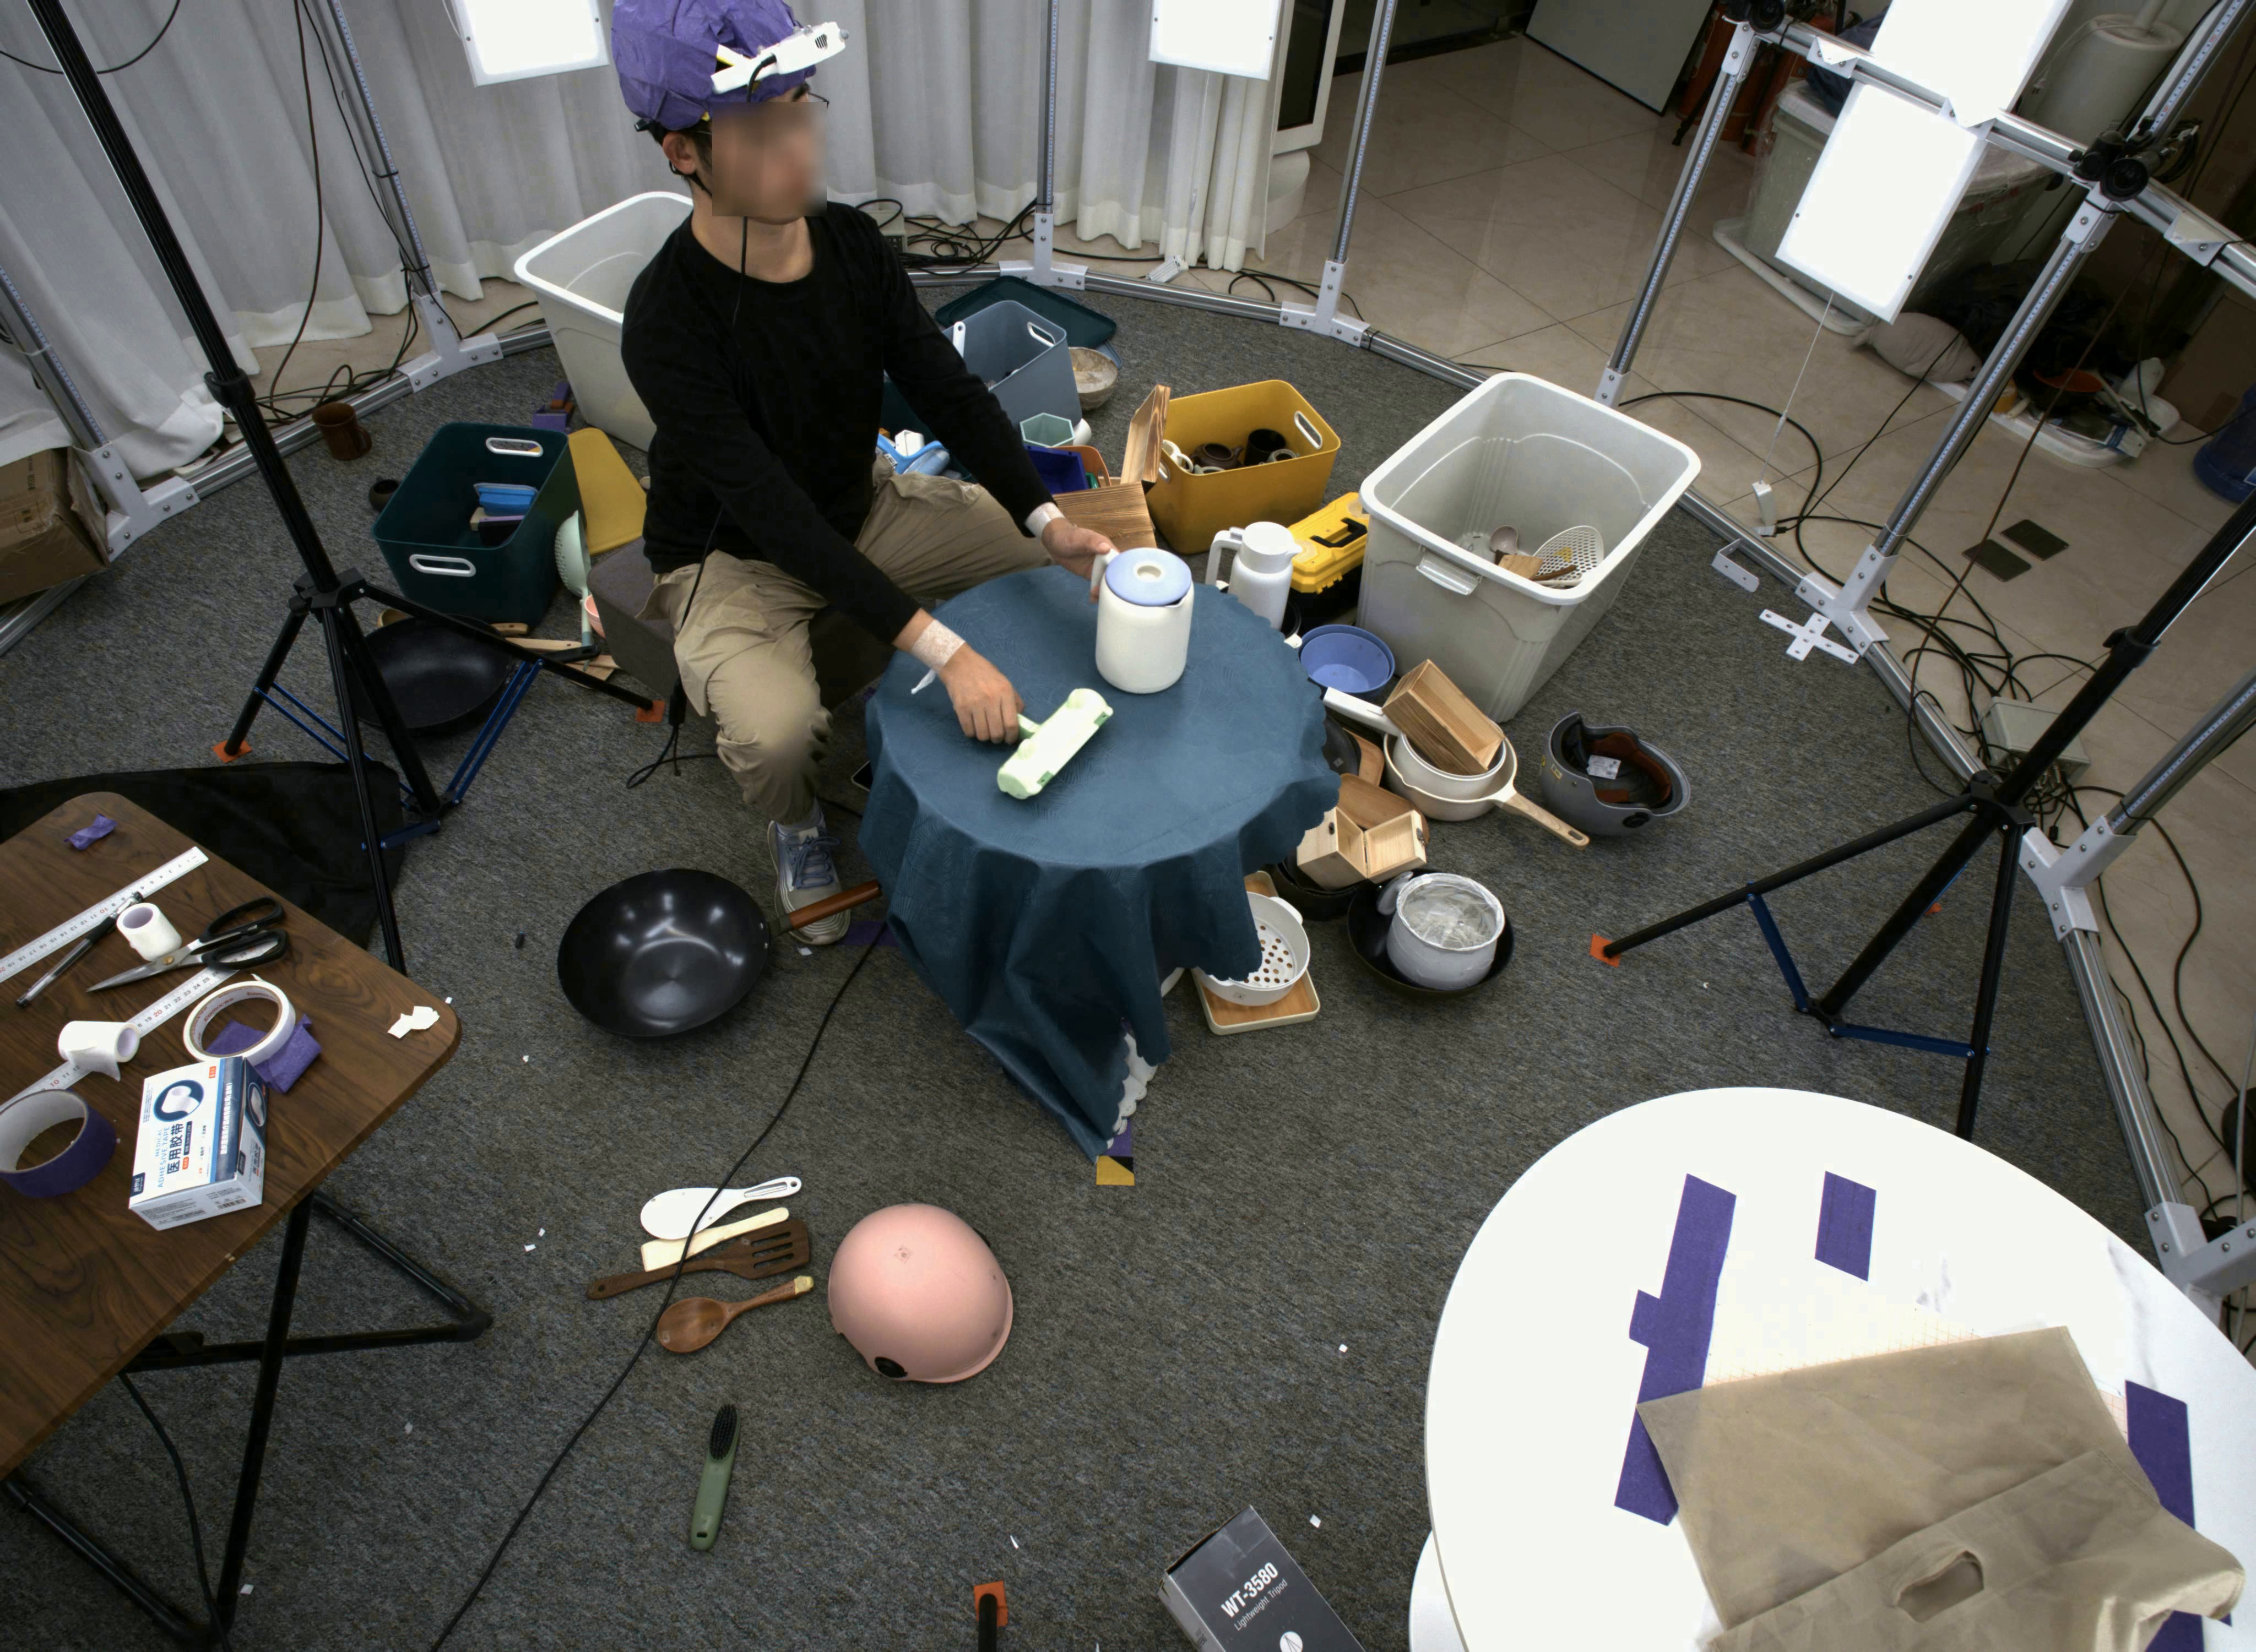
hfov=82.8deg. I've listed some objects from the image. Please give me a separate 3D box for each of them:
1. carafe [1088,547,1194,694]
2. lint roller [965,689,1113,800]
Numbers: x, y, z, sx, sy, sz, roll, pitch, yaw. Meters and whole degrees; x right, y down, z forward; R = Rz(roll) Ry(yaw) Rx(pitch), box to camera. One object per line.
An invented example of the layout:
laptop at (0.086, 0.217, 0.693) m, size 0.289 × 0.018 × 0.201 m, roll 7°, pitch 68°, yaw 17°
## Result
carafe at (0.008, -0.304, 1.824) m, size 0.133 × 0.178 × 0.194 m, roll -29°, pitch 55°, yaw -26°
lint roller at (-0.144, -0.144, 1.734) m, size 0.185 × 0.080 × 0.201 m, roll 31°, pitch 53°, yaw 16°
